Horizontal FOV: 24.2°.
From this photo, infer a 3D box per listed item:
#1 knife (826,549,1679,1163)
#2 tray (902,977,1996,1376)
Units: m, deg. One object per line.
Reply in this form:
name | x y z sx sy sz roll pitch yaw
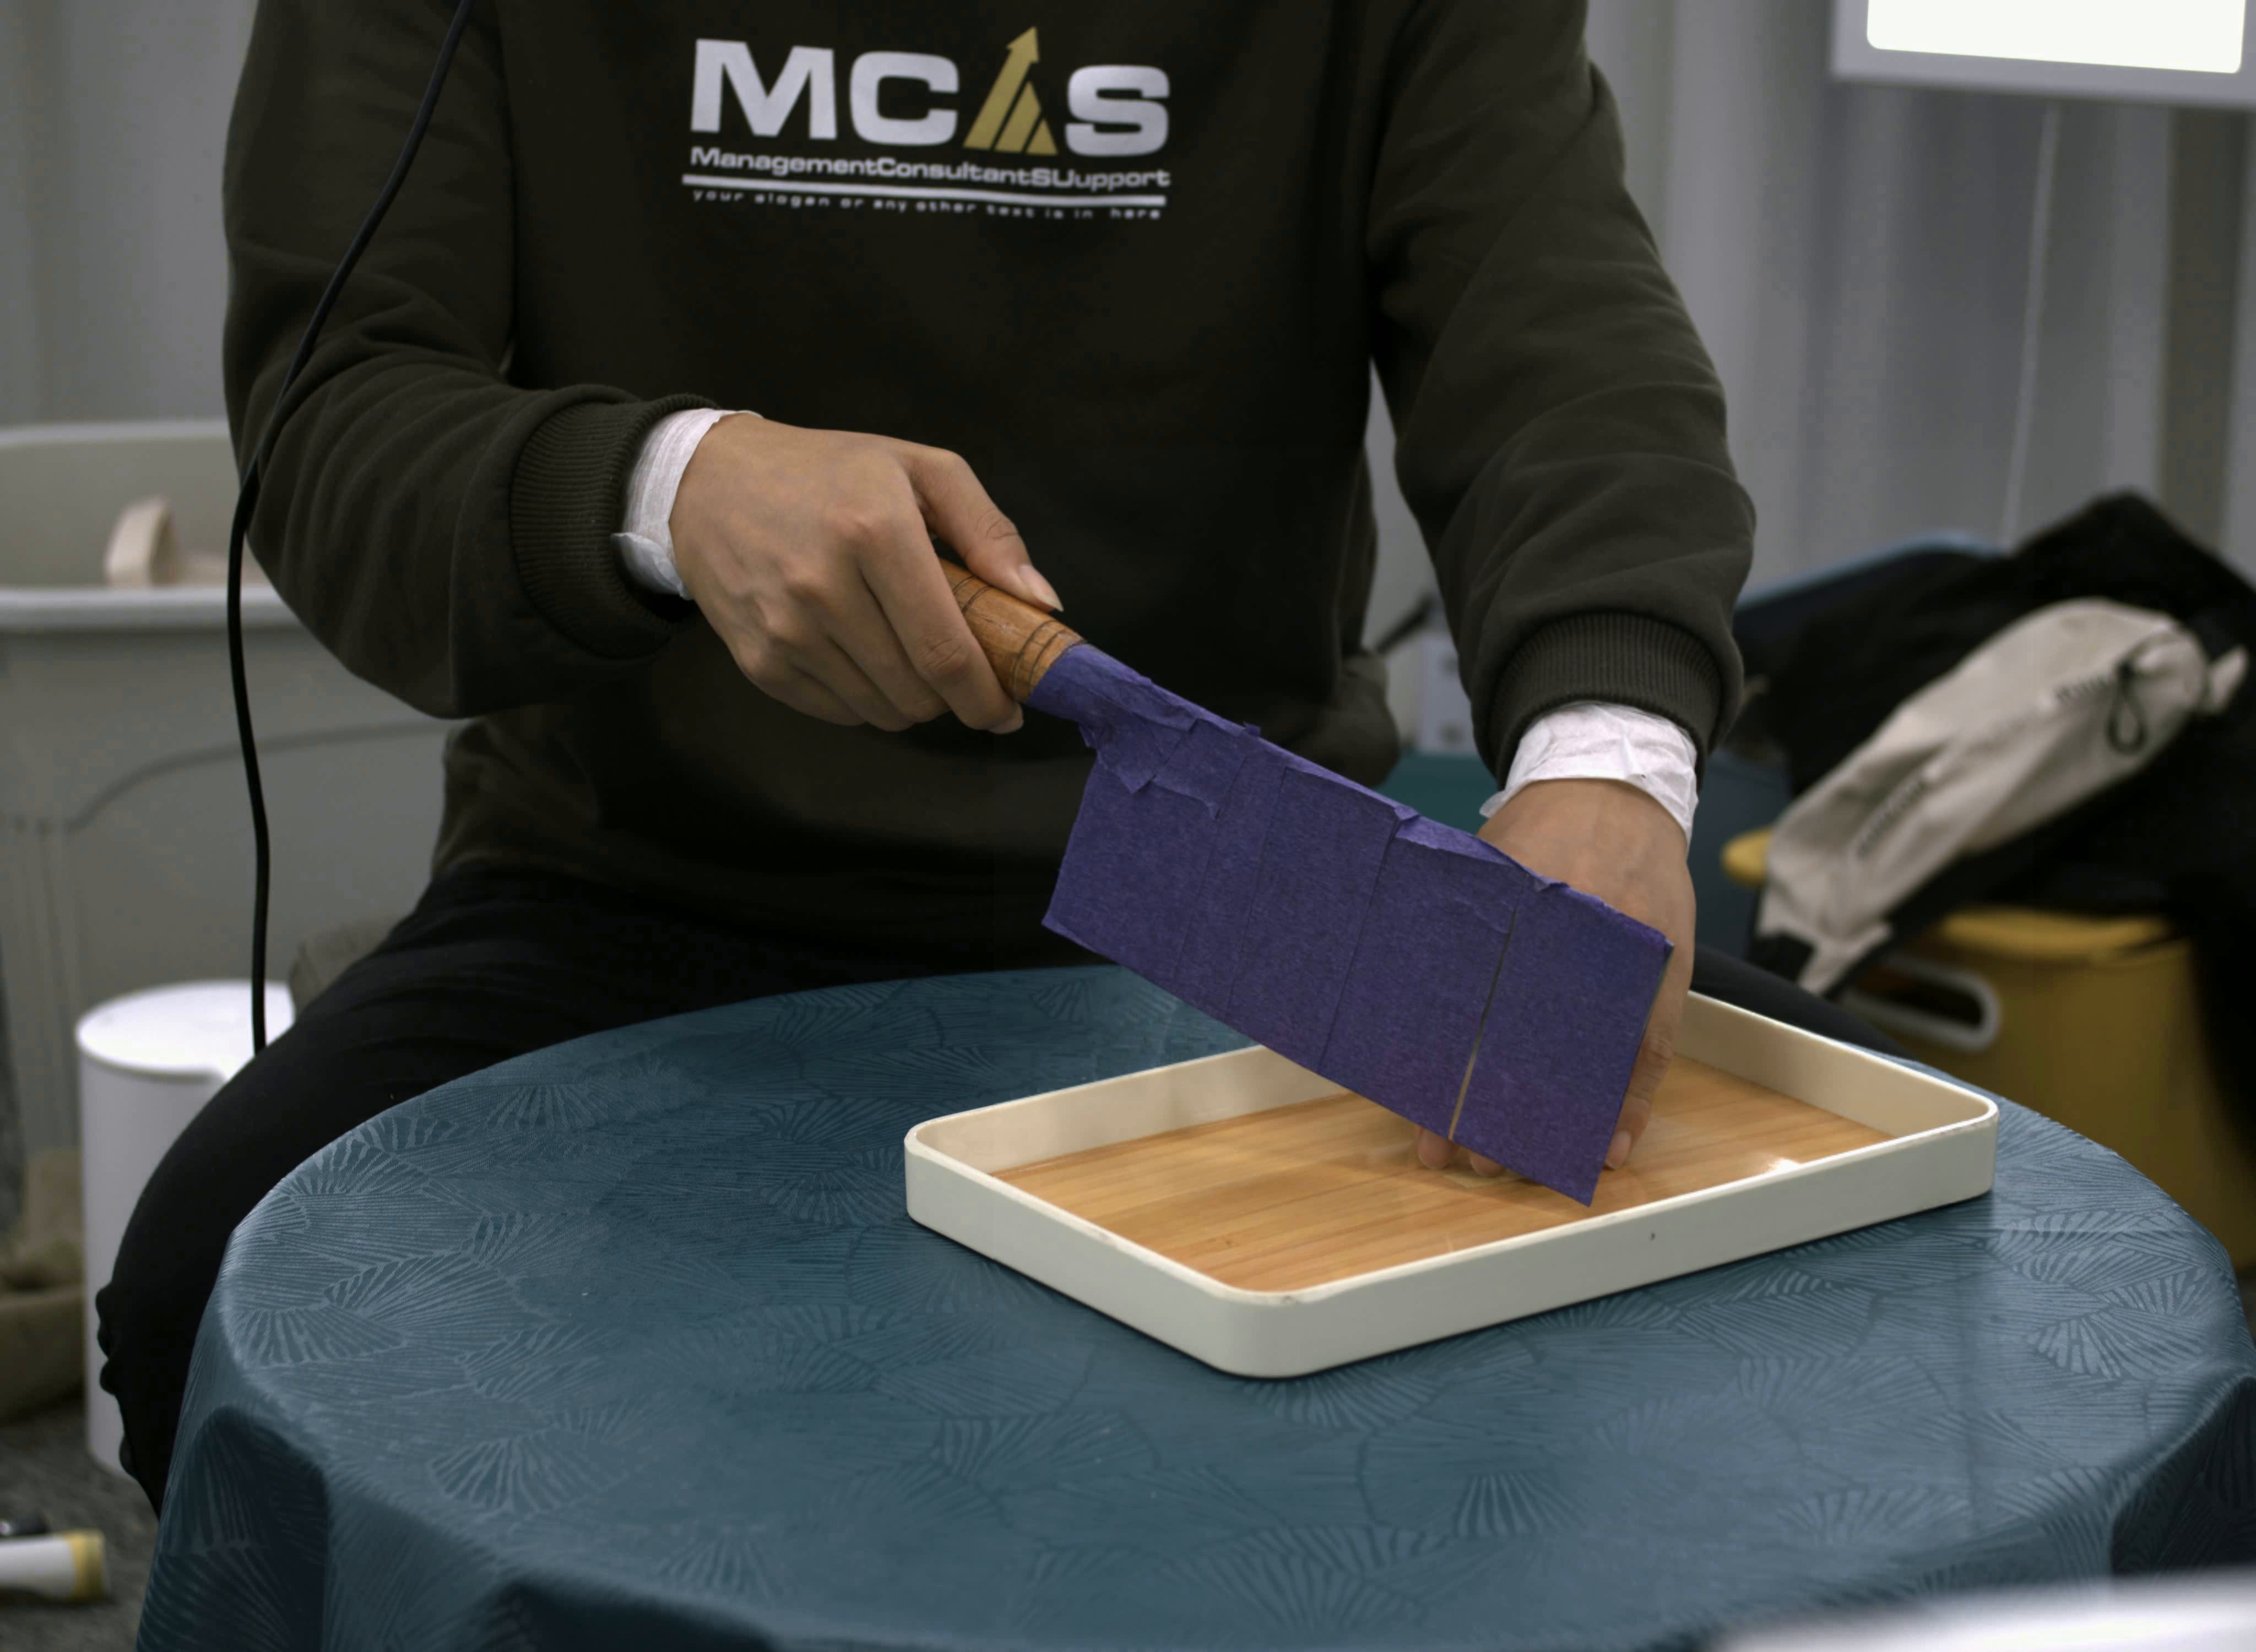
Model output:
knife | 0.025 0.010 1.629 0.311 0.104 0.032 26 19 28
tray | 0.100 0.102 1.616 0.302 0.027 0.189 -11 19 -35
